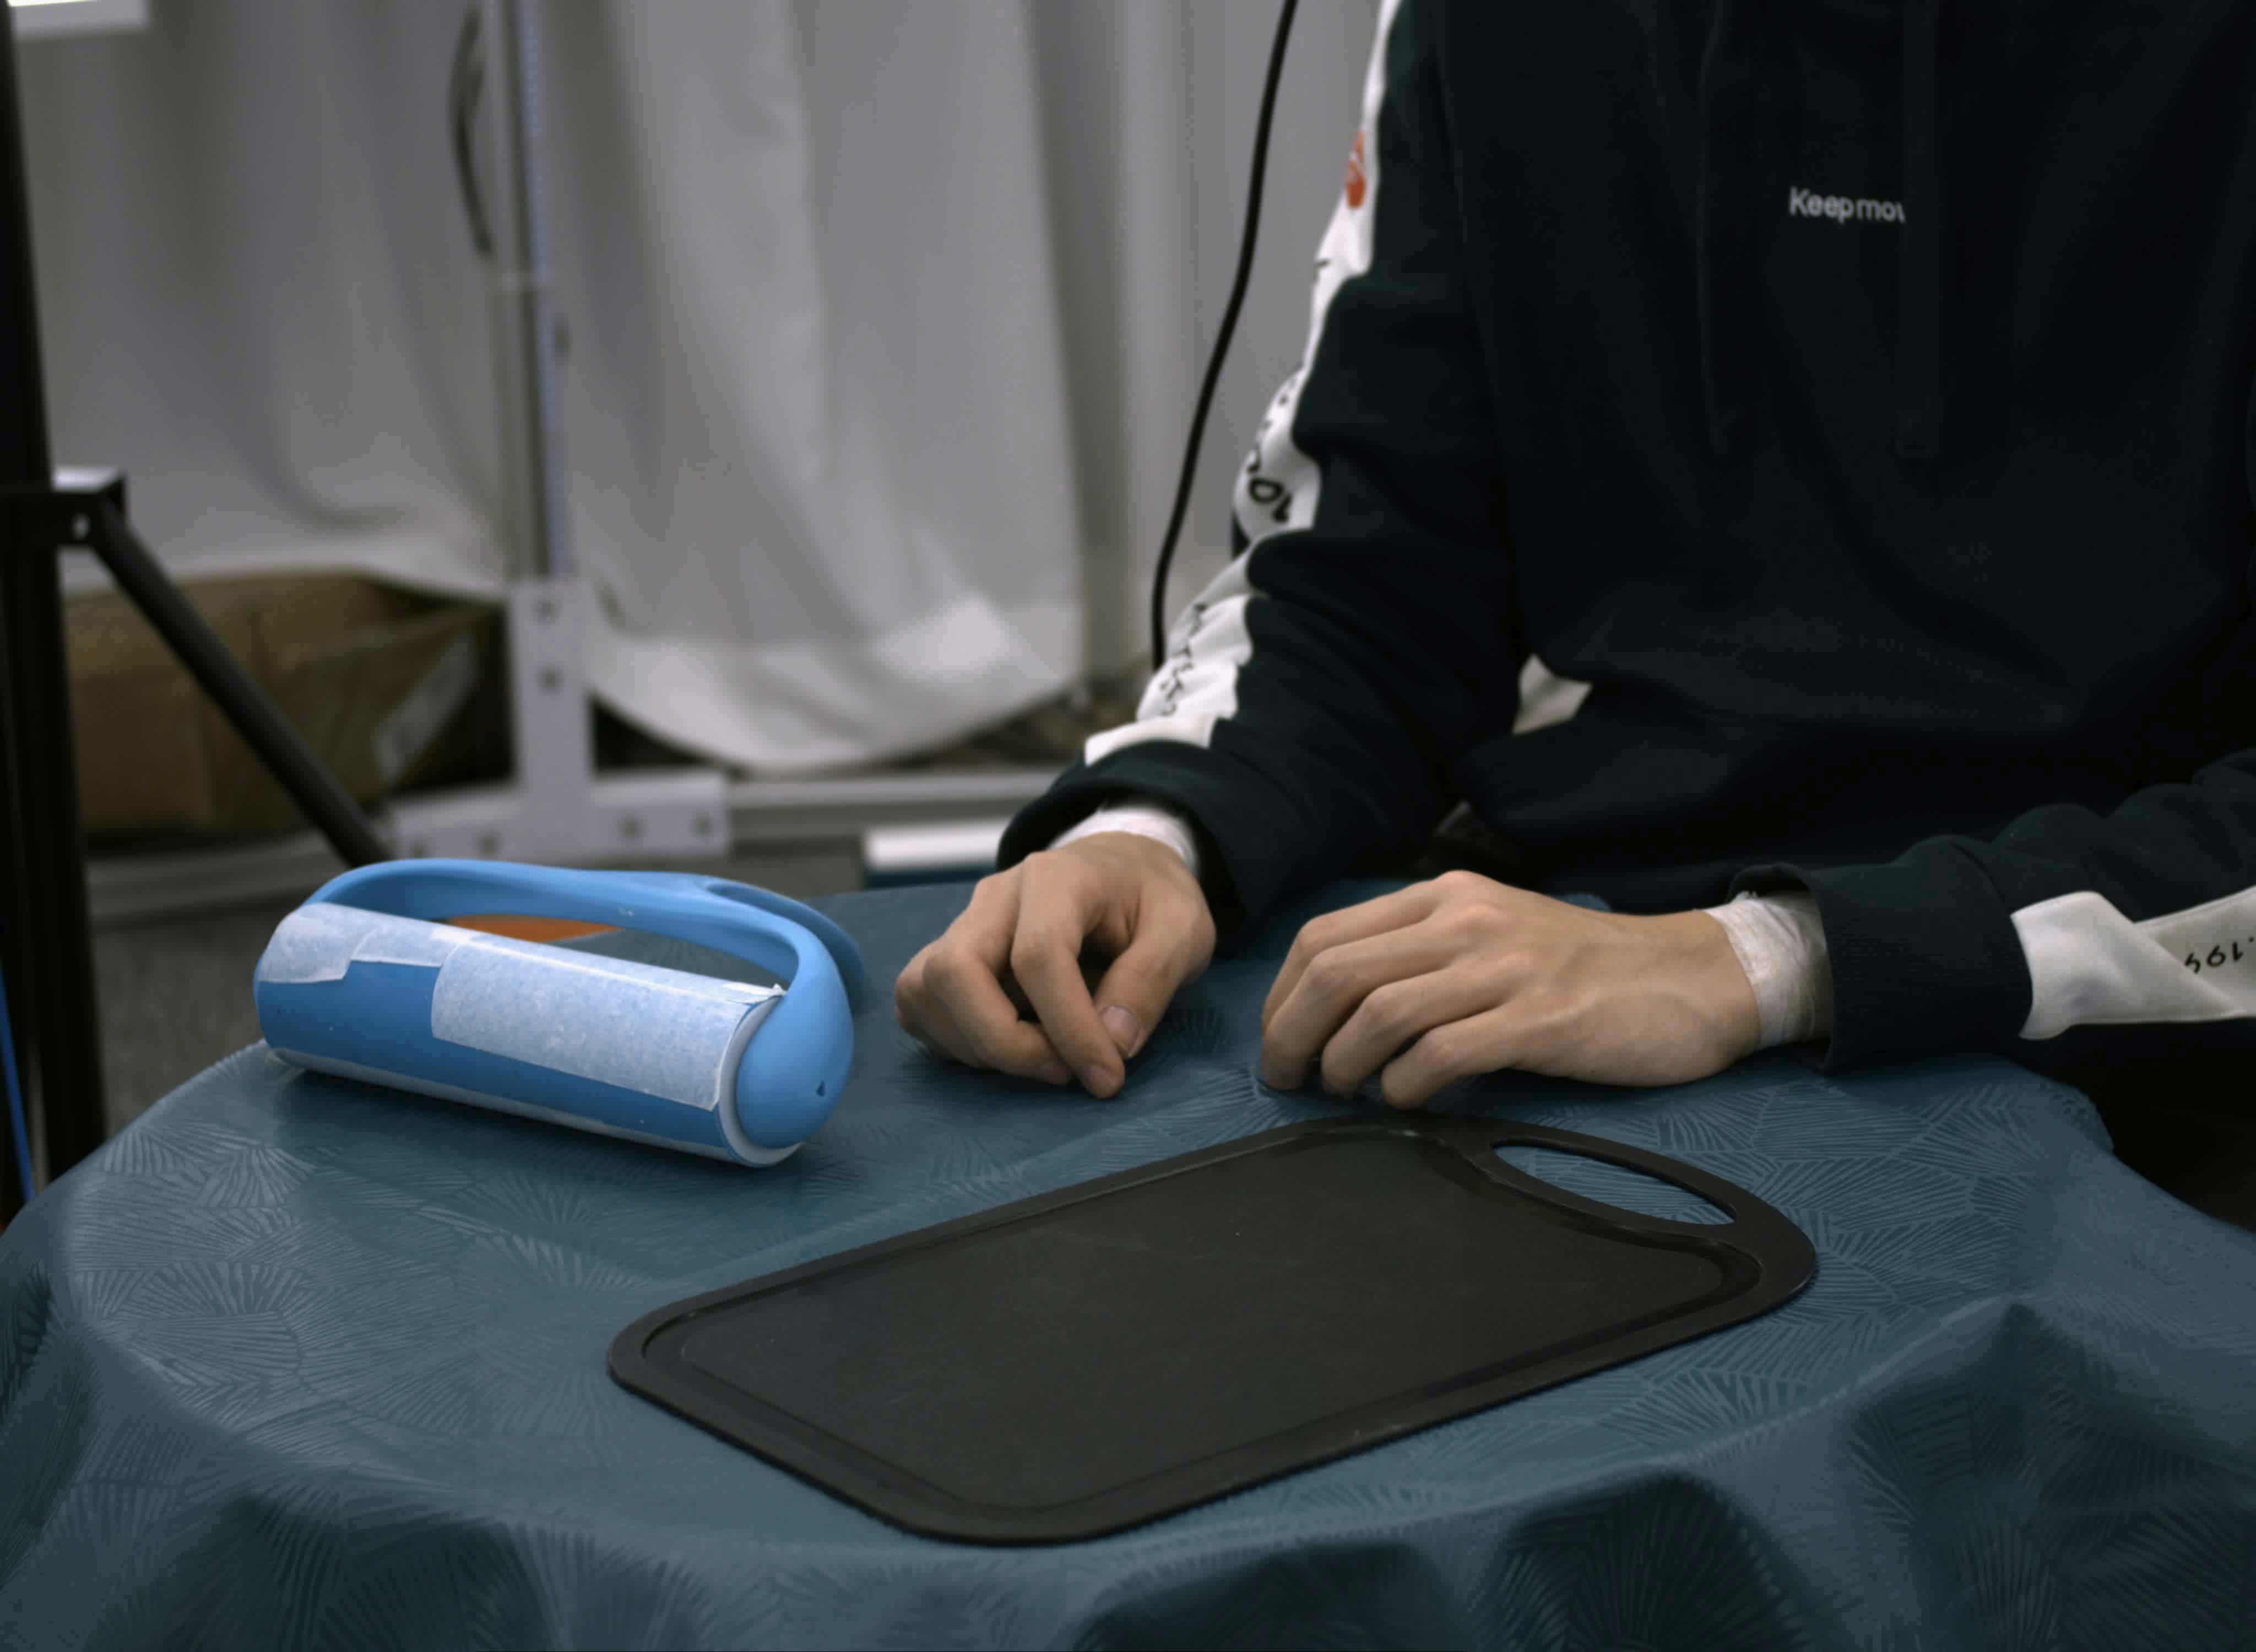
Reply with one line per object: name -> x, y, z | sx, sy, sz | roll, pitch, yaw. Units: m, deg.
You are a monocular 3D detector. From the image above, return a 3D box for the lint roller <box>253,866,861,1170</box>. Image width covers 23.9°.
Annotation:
lint roller -> -0.149, 0.048, 1.693 | 0.233, 0.068, 0.177 | 6, 19, 35

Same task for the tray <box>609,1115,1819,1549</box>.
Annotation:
tray -> 0.032, 0.130, 1.462 | 0.318, 0.010, 0.216 | -13, 19, -33
